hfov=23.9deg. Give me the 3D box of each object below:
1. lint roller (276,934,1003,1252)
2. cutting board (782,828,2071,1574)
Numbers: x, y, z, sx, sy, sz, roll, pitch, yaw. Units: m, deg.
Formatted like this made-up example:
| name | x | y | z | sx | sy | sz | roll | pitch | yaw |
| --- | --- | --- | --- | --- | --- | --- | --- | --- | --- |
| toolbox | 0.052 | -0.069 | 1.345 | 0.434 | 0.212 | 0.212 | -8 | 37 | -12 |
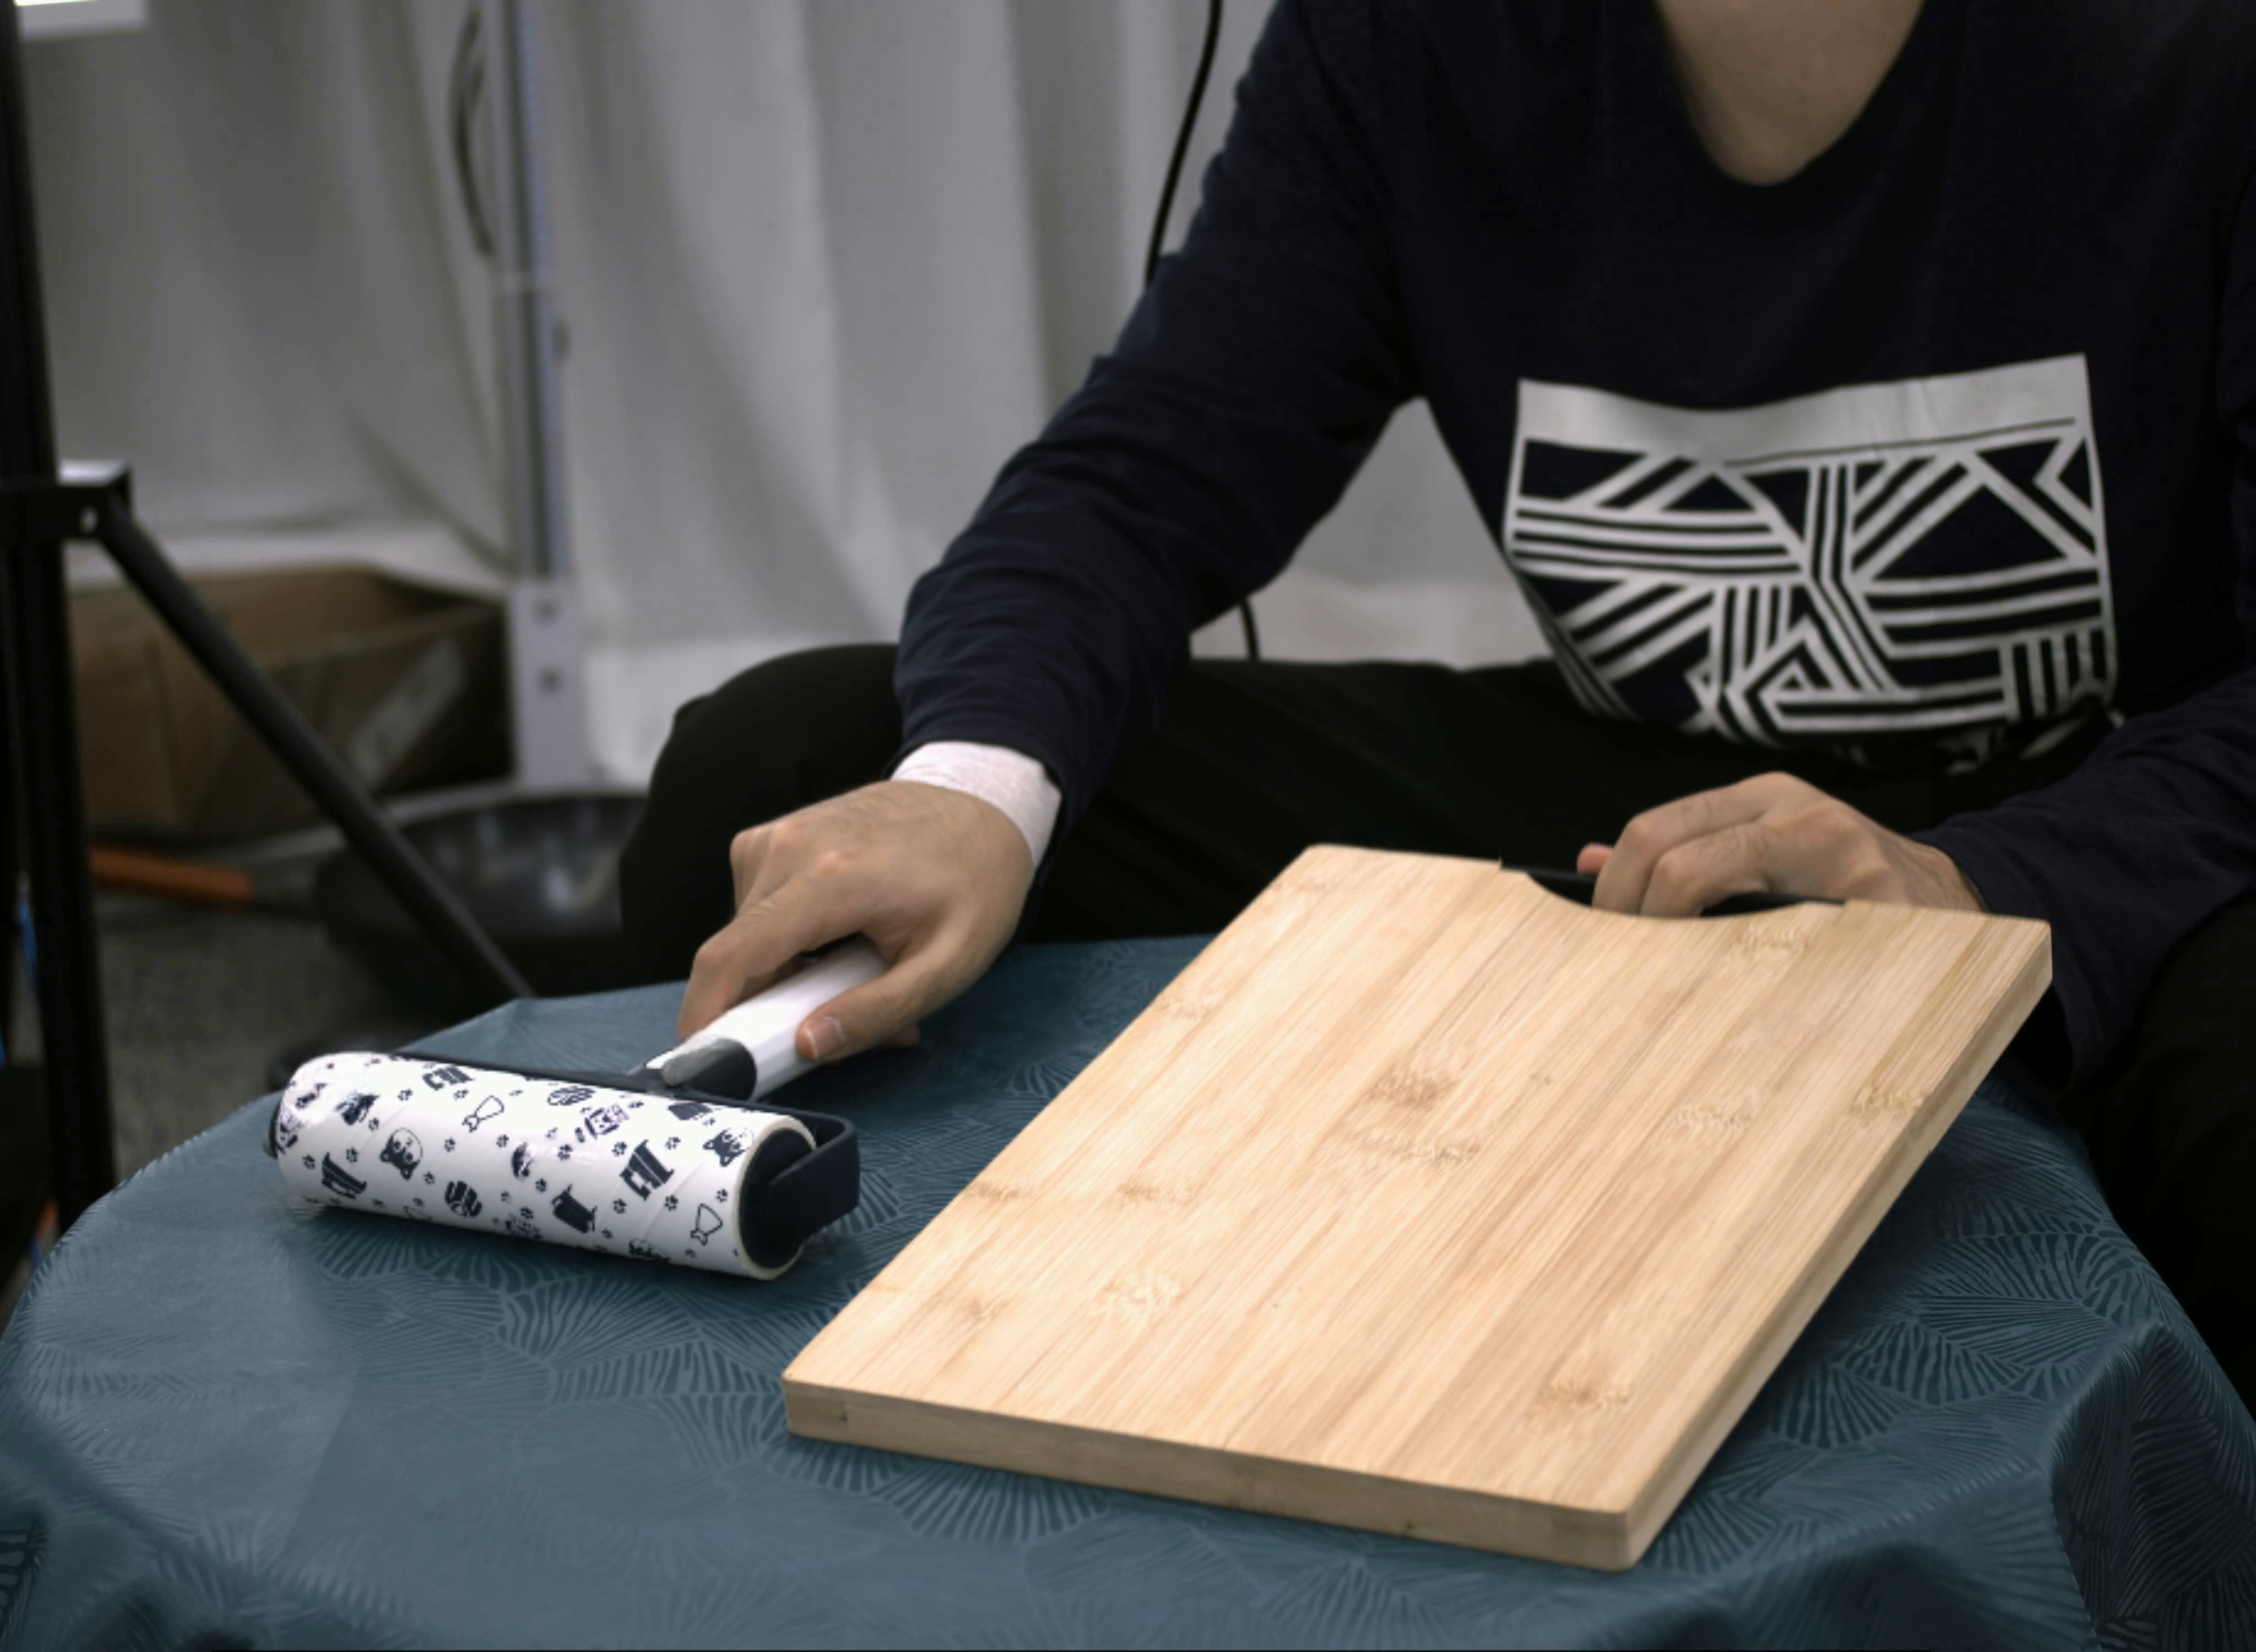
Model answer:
| name | x | y | z | sx | sy | sz | roll | pitch | yaw |
| --- | --- | --- | --- | --- | --- | --- | --- | --- | --- |
| lint roller | -0.116 | 0.063 | 1.618 | 0.180 | 0.050 | 0.242 | 10 | 19 | 33 |
| cutting board | 0.092 | 0.092 | 1.469 | 0.255 | 0.023 | 0.344 | 6 | 28 | 27 |
